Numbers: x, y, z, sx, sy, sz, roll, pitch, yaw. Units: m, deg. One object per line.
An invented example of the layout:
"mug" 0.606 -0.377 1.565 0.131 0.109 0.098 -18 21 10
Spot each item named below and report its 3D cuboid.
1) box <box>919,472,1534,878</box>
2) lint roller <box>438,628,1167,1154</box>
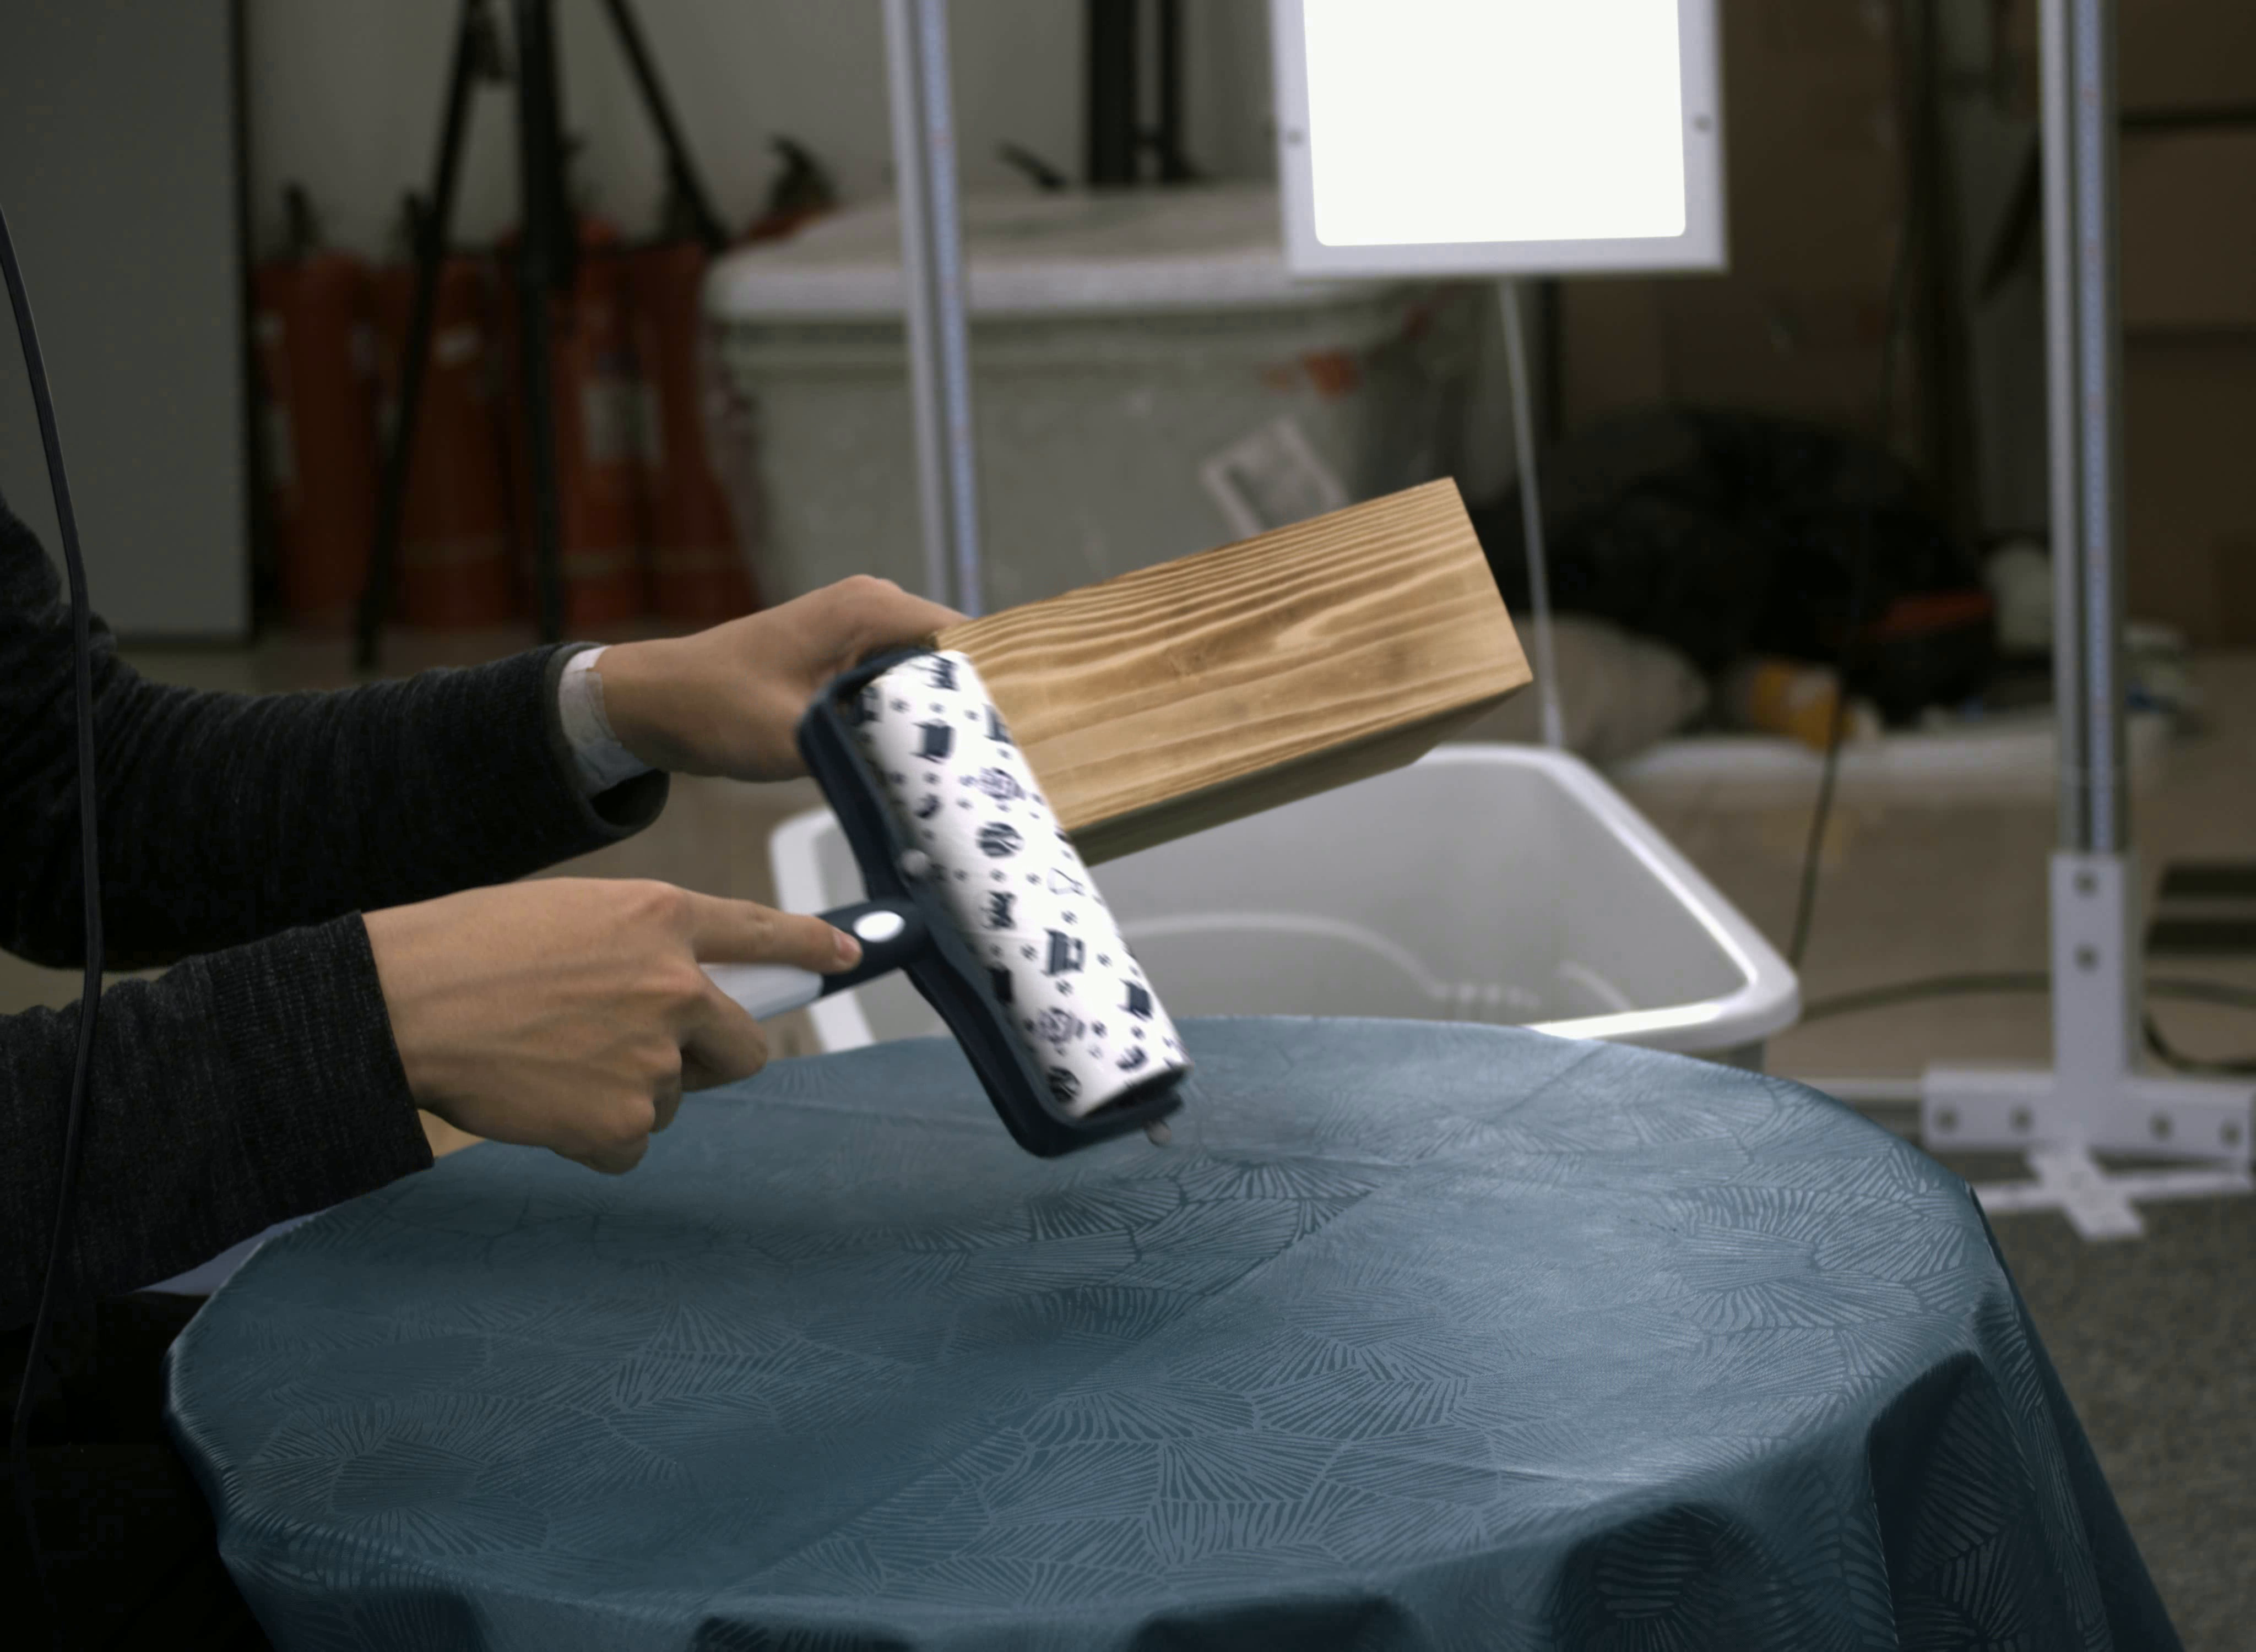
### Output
"box" 0.020 -0.045 1.926 0.207 0.080 0.109 -18 -9 -25
"lint roller" -0.111 0.042 1.730 0.241 0.177 0.051 -19 -13 -42
